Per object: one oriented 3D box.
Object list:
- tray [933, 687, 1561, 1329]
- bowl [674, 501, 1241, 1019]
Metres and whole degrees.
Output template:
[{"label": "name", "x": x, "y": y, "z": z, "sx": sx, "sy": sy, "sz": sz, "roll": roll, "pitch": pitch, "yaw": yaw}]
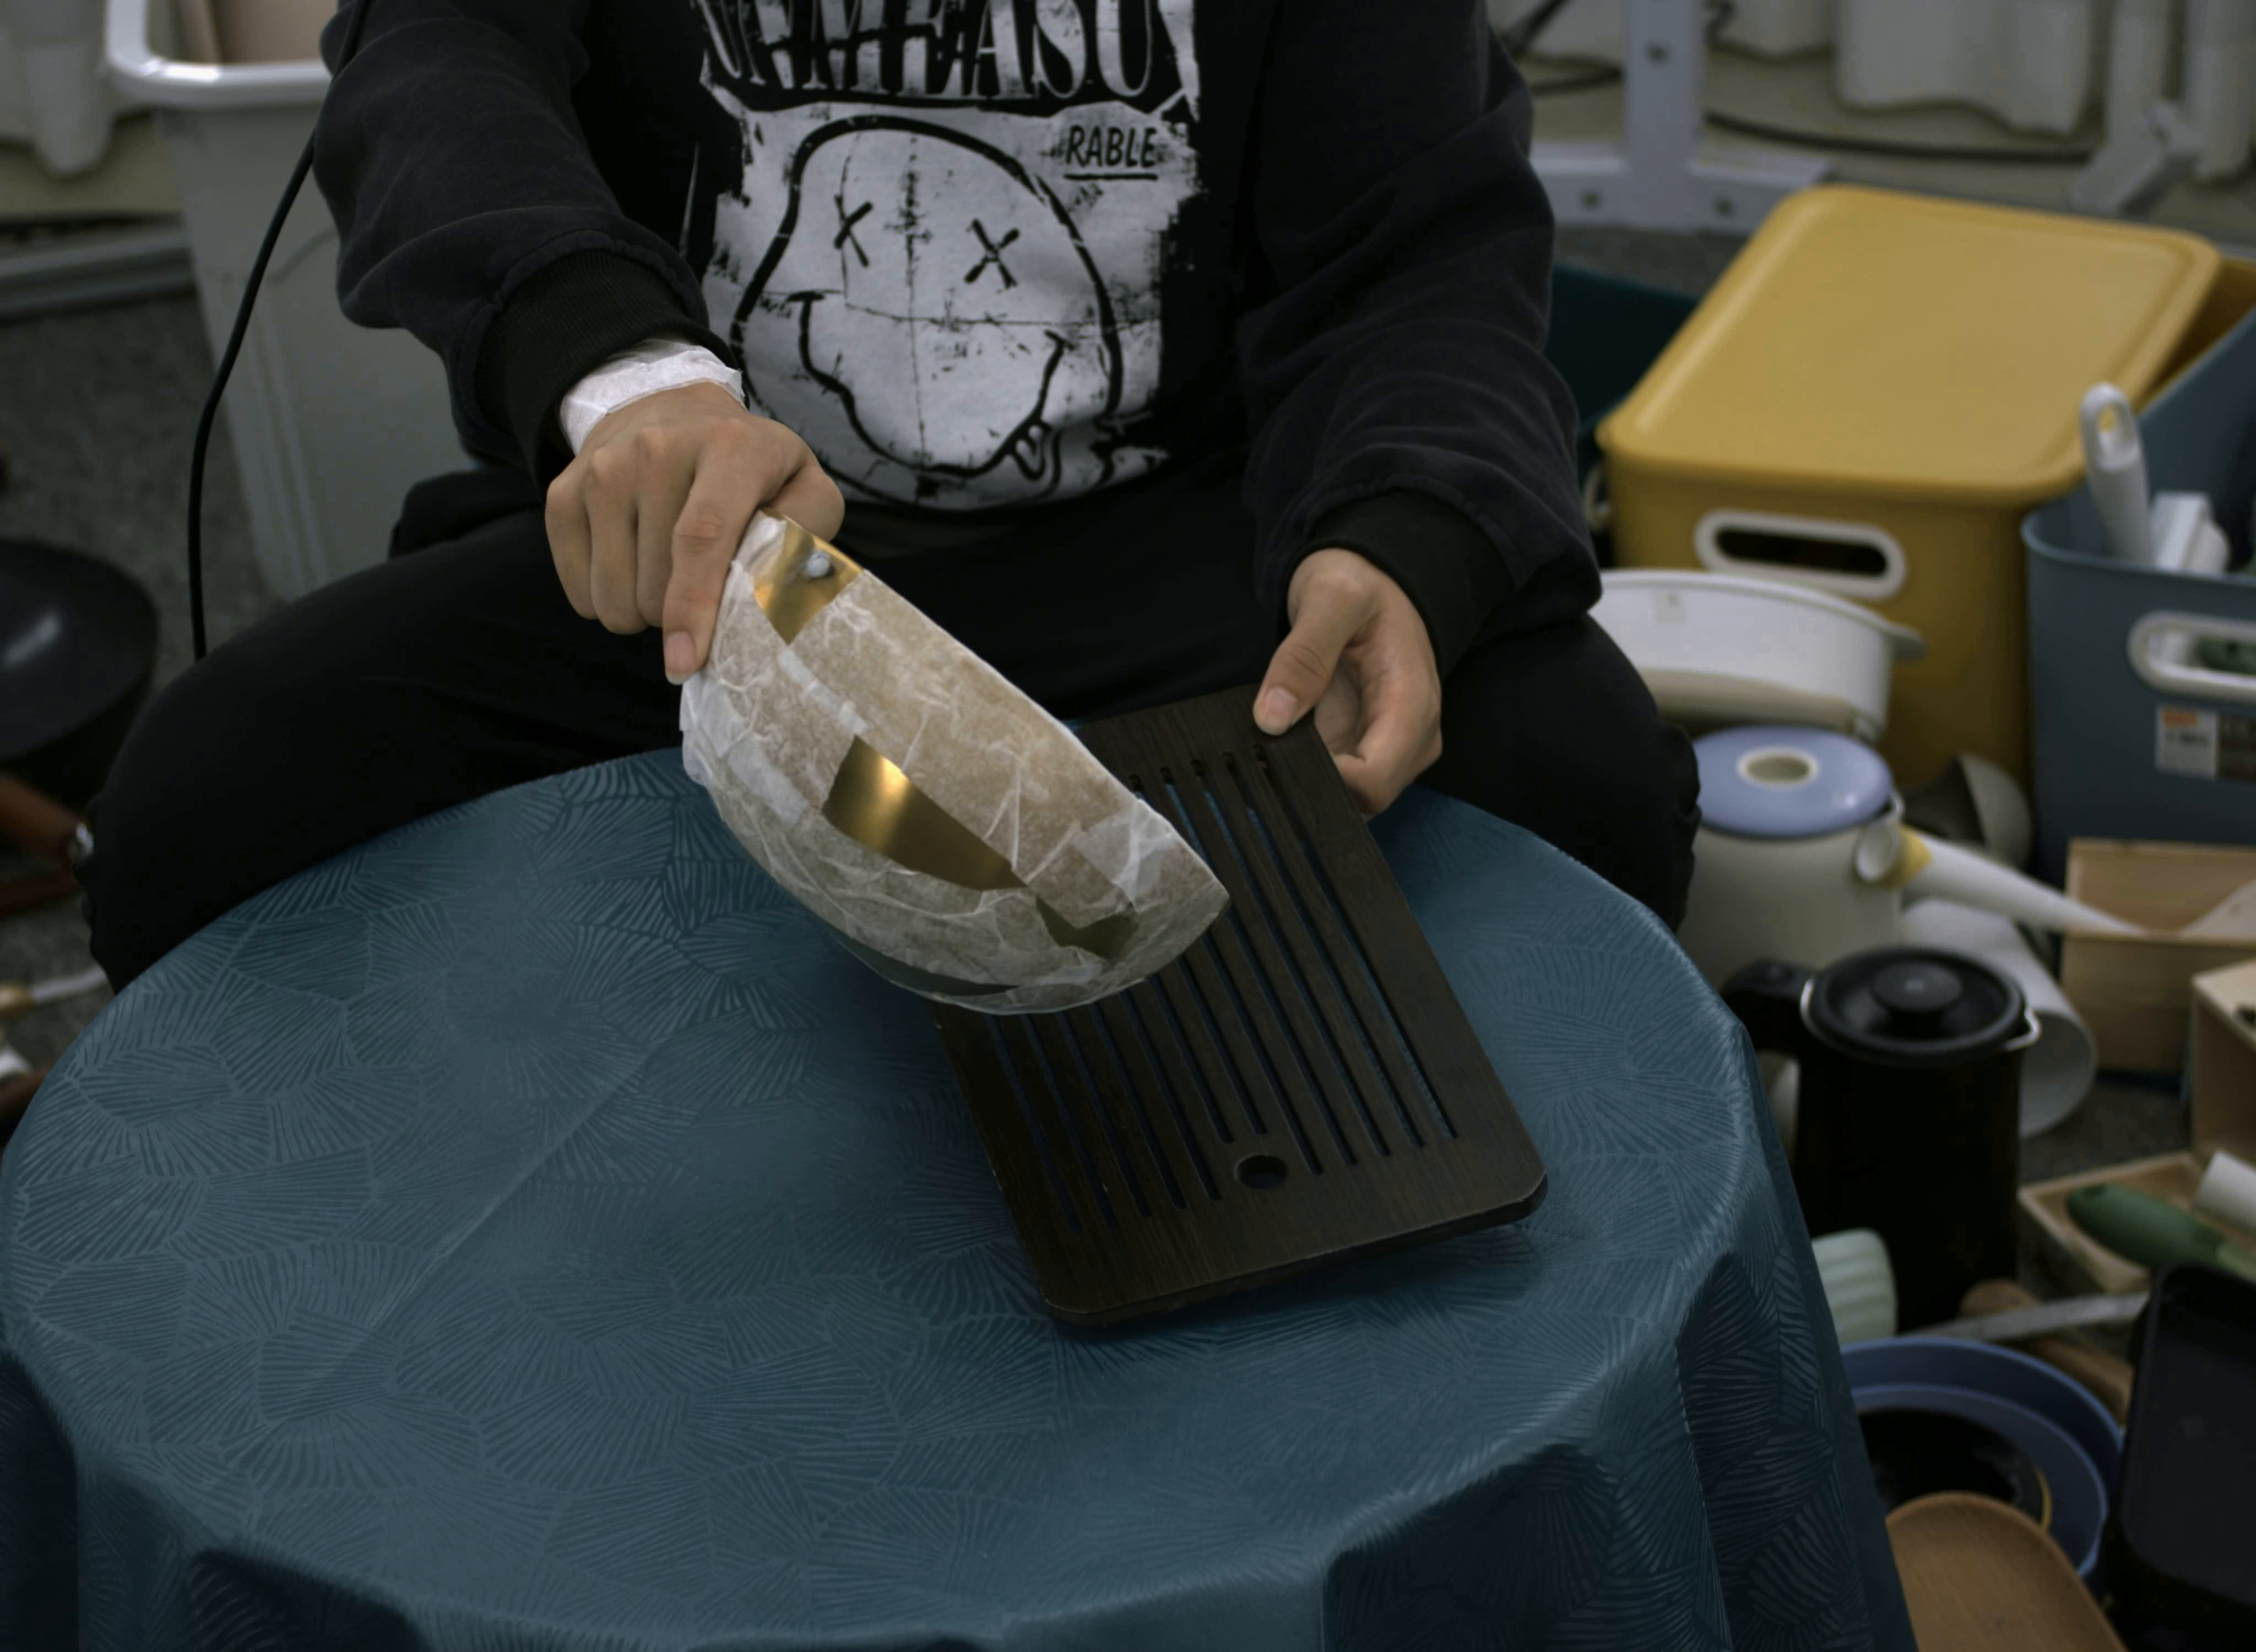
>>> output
[{"label": "tray", "x": 0.021, "y": 0.057, "z": 1.908, "sx": 0.170, "sy": 0.018, "sz": 0.310, "roll": -13, "pitch": 37, "yaw": -9}, {"label": "bowl", "x": -0.072, "y": -0.002, "z": 1.806, "sx": 0.095, "sy": 0.213, "sz": 0.215, "roll": -53, "pitch": 43, "yaw": -7}]
